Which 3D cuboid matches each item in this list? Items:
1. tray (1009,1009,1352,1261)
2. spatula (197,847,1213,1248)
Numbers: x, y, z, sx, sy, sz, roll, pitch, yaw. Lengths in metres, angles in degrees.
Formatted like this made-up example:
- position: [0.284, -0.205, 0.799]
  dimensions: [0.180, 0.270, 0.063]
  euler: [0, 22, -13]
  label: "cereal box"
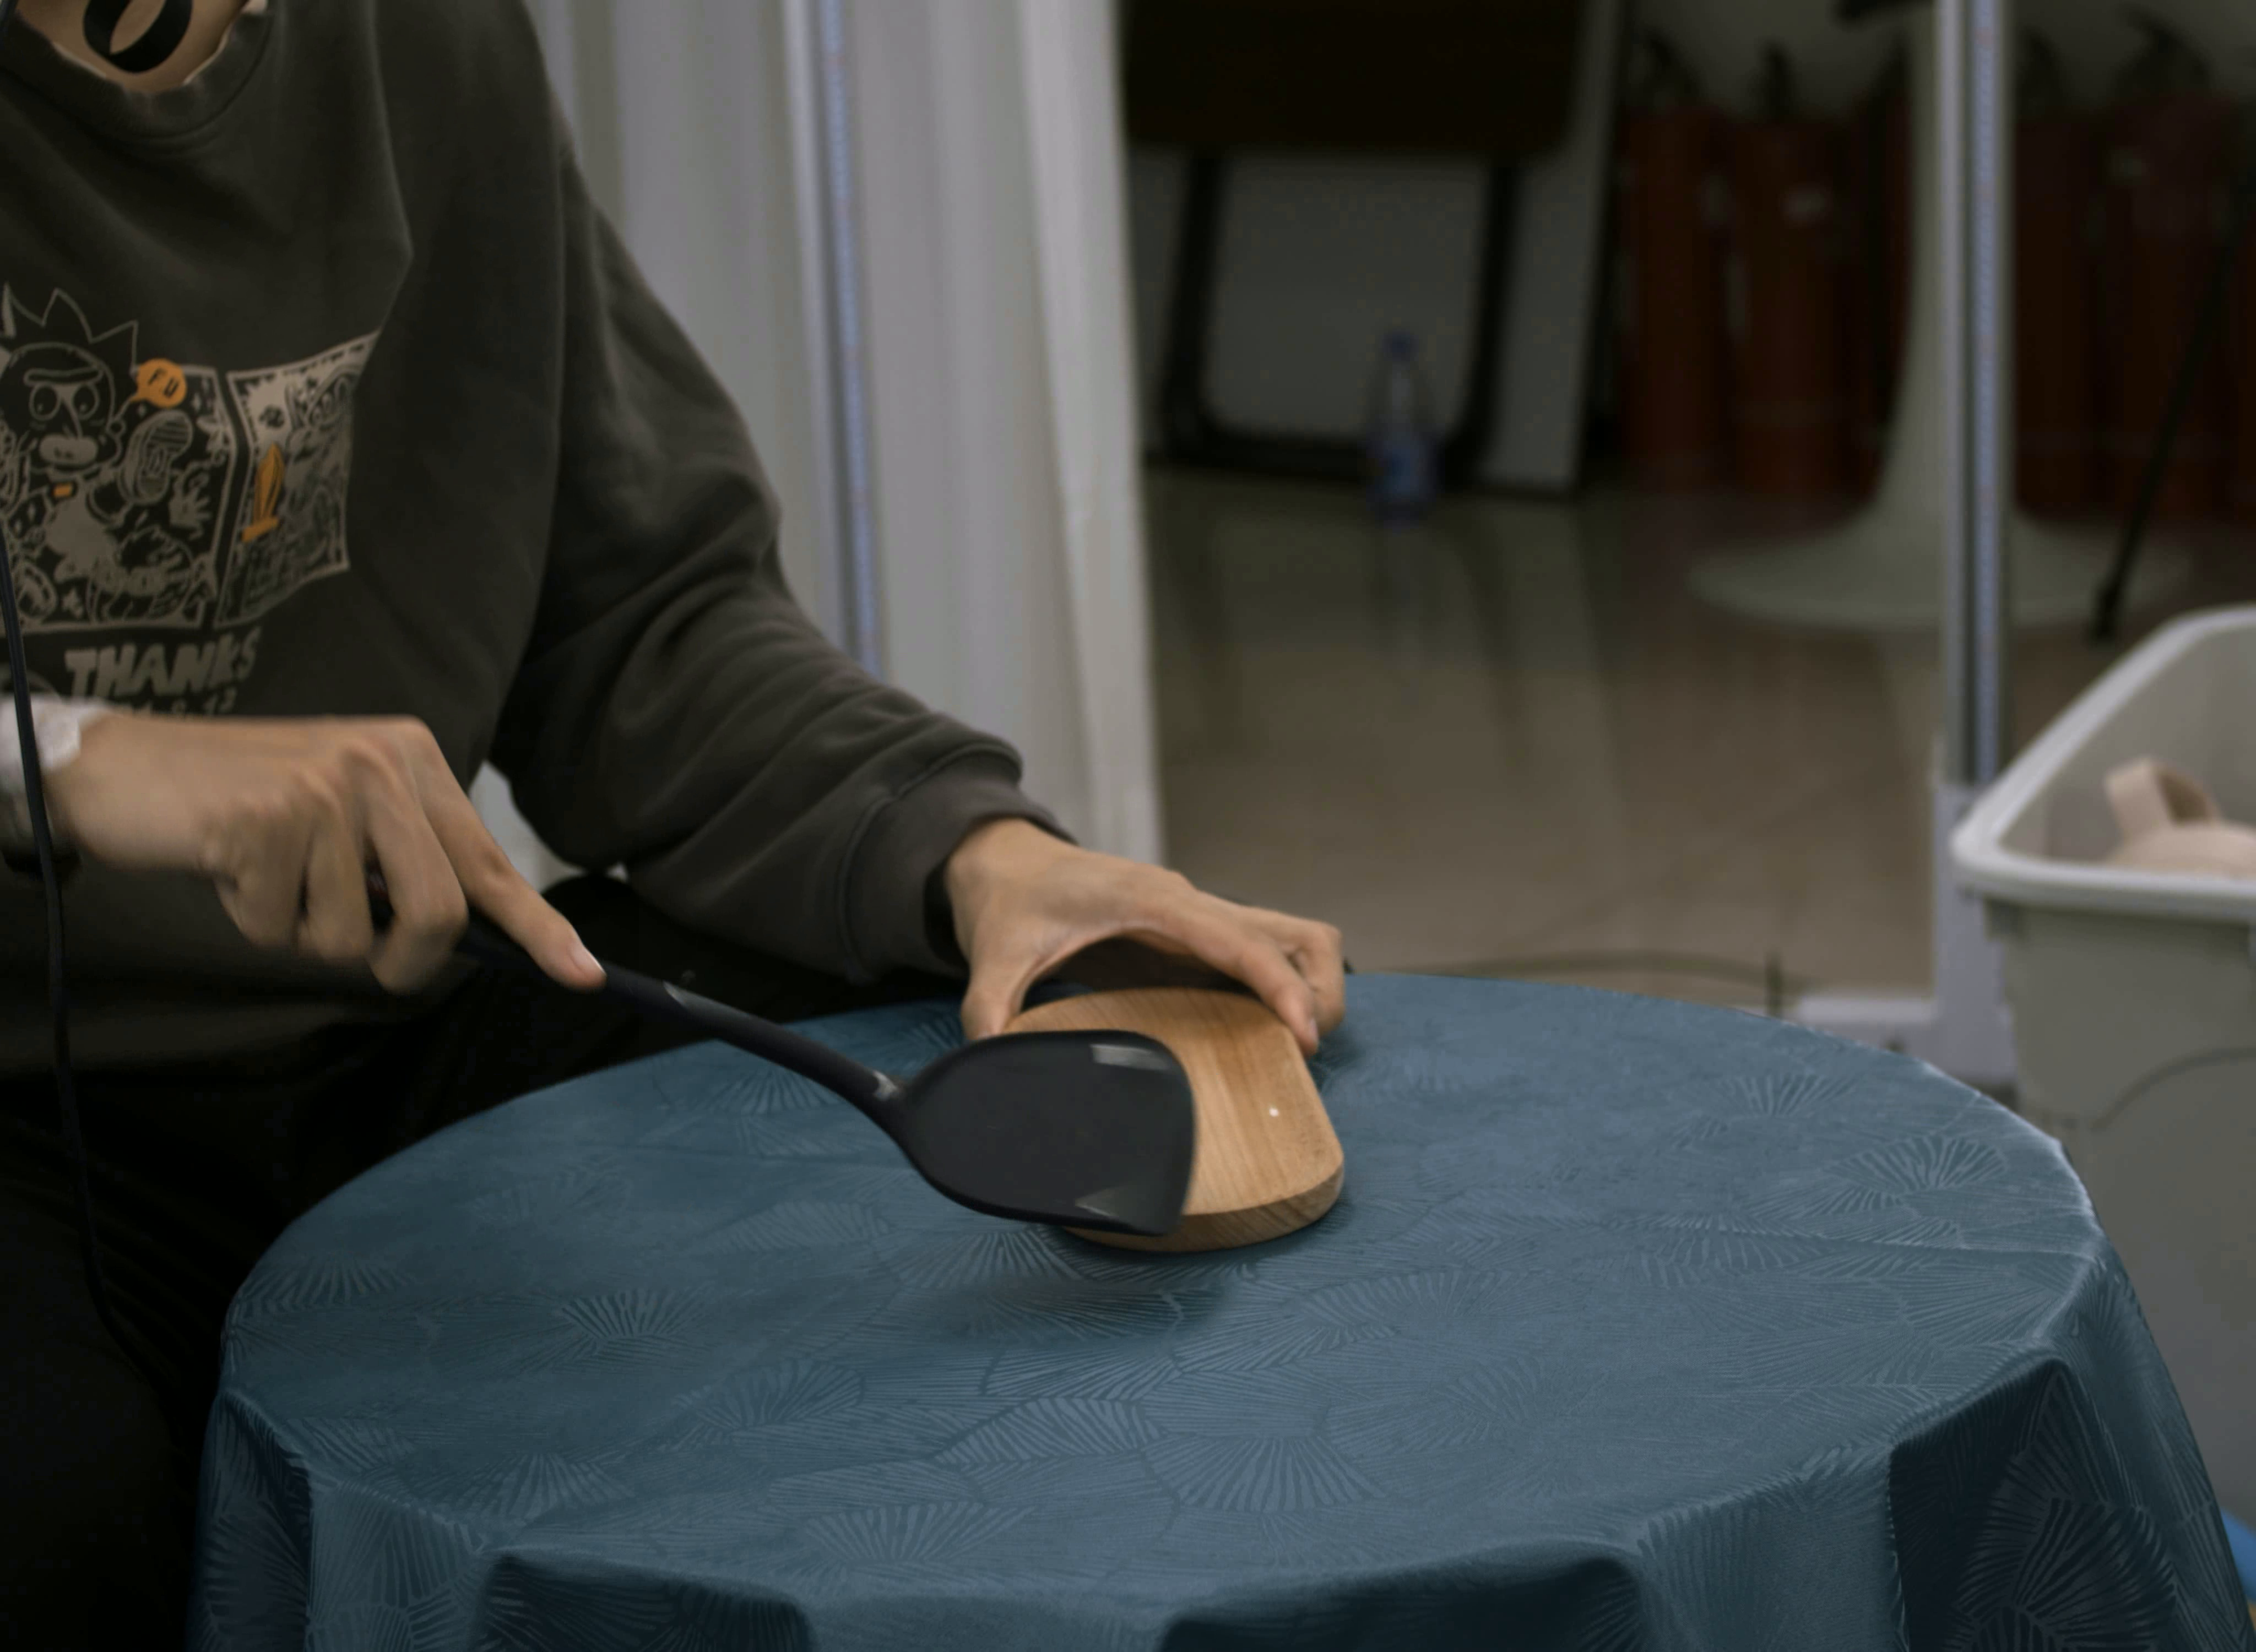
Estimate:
- position: [0.016, 0.101, 1.809]
  dimensions: [0.100, 0.020, 0.232]
  euler: [-5, 17, -5]
  label: "tray"
- position: [-0.127, 0.057, 1.657]
  dimensions: [0.321, 0.041, 0.100]
  euler: [22, 32, -11]
  label: "spatula"
